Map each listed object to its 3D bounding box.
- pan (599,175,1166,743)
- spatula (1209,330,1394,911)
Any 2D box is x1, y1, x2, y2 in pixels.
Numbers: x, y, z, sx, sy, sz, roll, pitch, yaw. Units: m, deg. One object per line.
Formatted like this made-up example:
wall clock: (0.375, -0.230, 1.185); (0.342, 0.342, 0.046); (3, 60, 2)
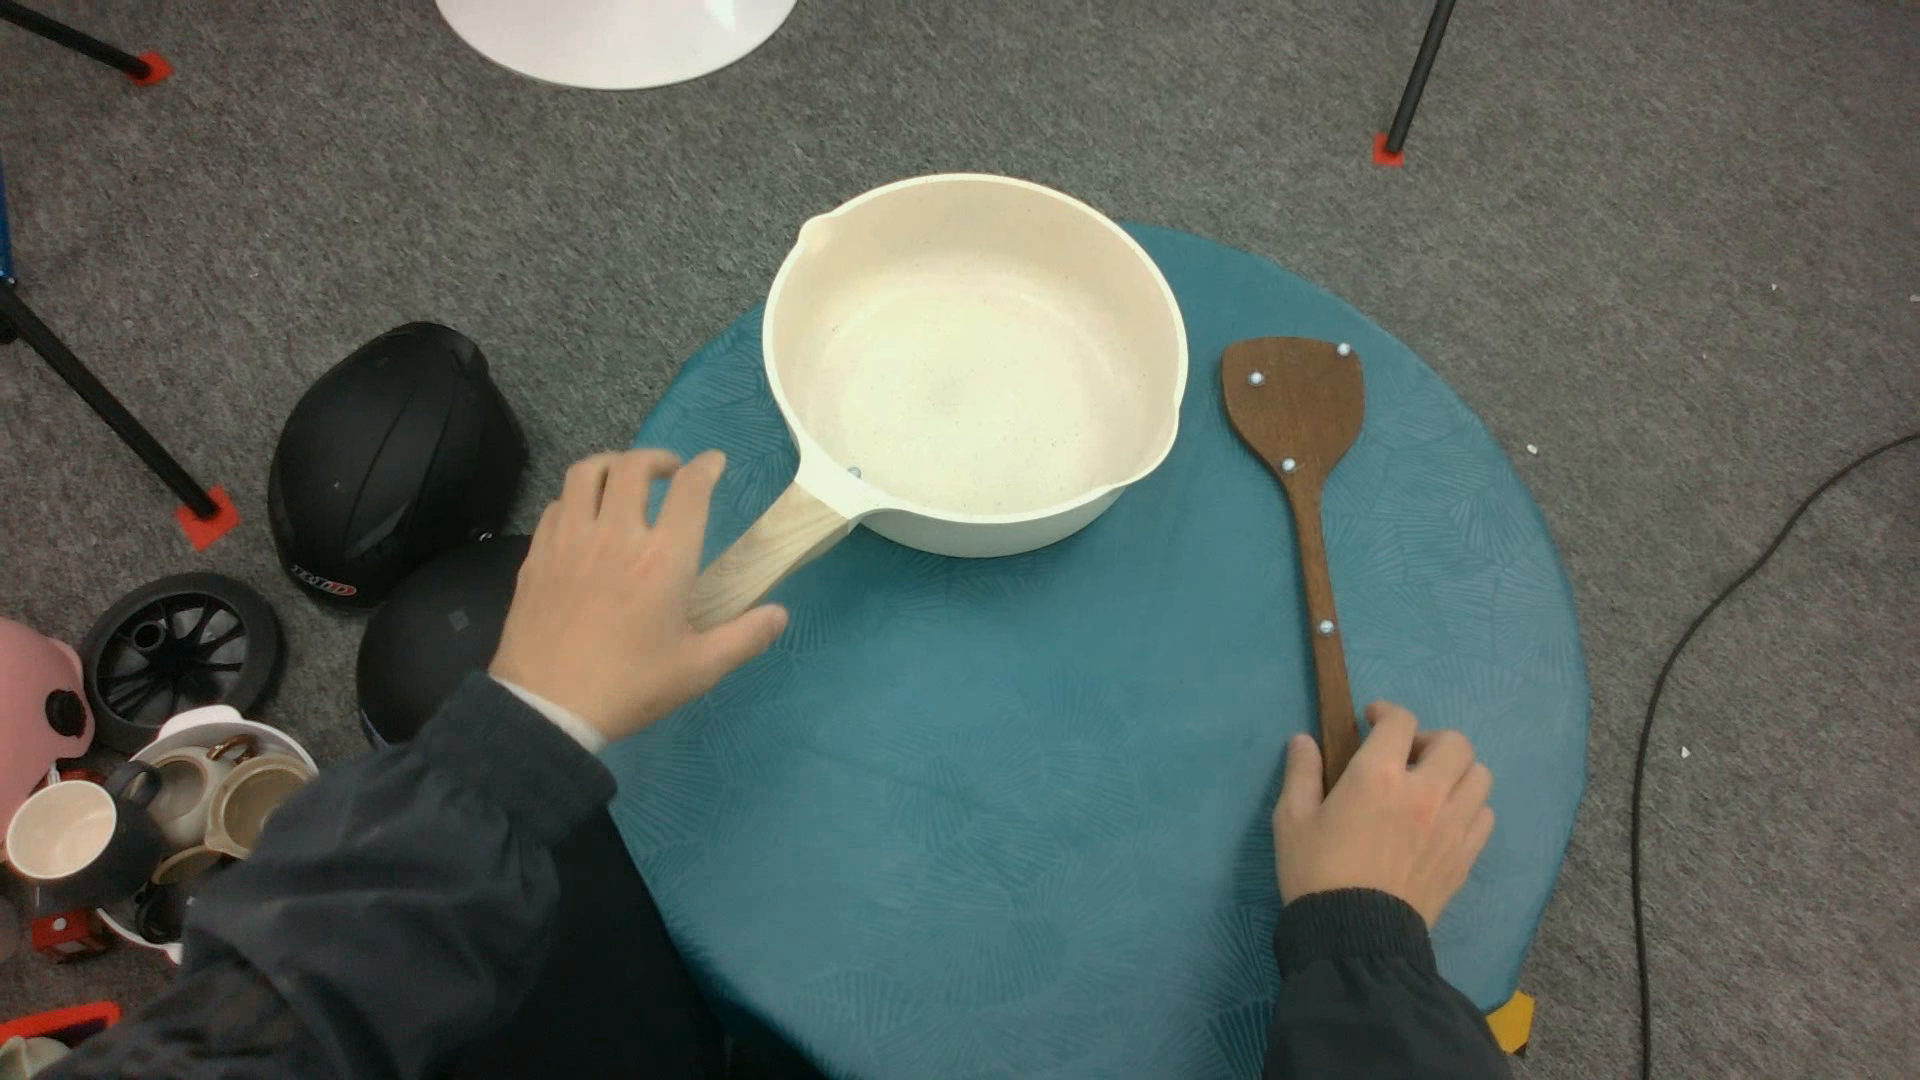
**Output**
pan: (-0.055, -0.041, 0.810); (0.263, 0.101, 0.436); (33, 64, 12)
spatula: (0.218, 0.030, 0.838); (0.096, 0.016, 0.387); (0, 62, -3)
